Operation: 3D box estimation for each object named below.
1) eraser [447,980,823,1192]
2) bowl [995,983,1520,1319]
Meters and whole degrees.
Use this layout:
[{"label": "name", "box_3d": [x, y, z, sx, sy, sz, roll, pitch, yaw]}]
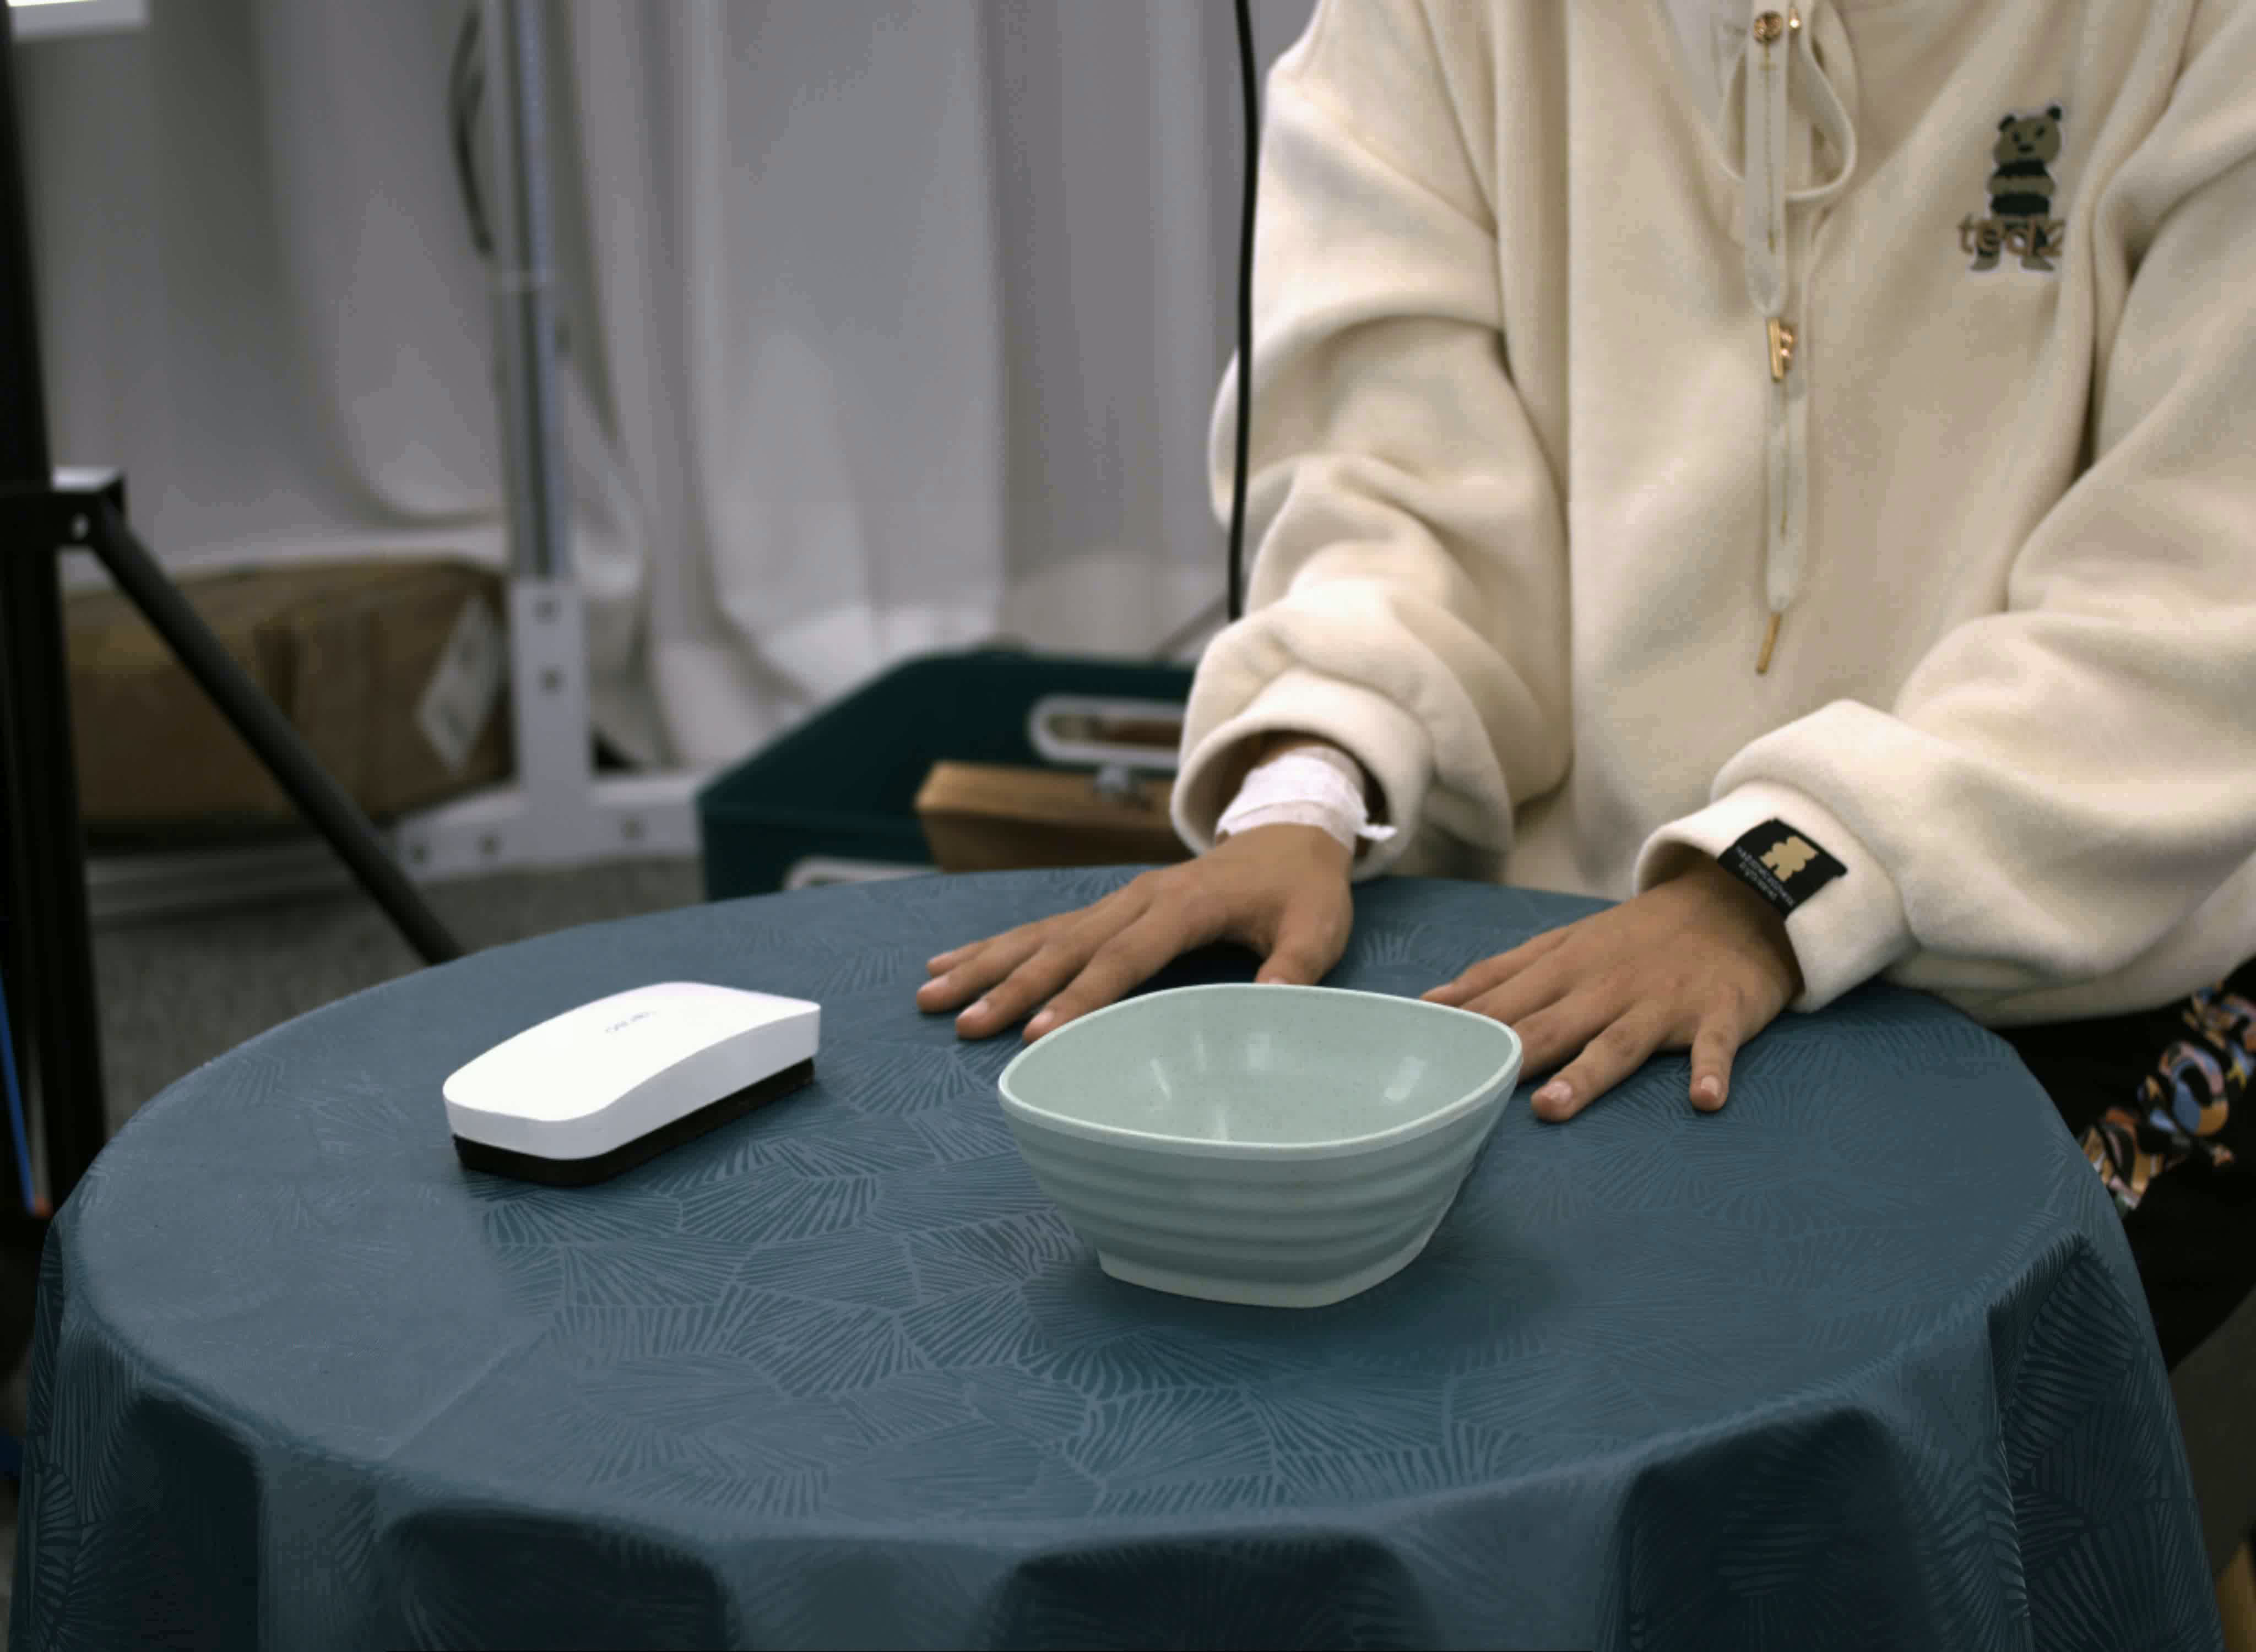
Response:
[{"label": "eraser", "box_3d": [-0.149, 0.076, 1.639, 0.064, 0.034, 0.129, 8, 19, 34]}, {"label": "bowl", "box_3d": [0.037, 0.095, 1.498, 0.150, 0.058, 0.152, -1, 16, -1]}]
